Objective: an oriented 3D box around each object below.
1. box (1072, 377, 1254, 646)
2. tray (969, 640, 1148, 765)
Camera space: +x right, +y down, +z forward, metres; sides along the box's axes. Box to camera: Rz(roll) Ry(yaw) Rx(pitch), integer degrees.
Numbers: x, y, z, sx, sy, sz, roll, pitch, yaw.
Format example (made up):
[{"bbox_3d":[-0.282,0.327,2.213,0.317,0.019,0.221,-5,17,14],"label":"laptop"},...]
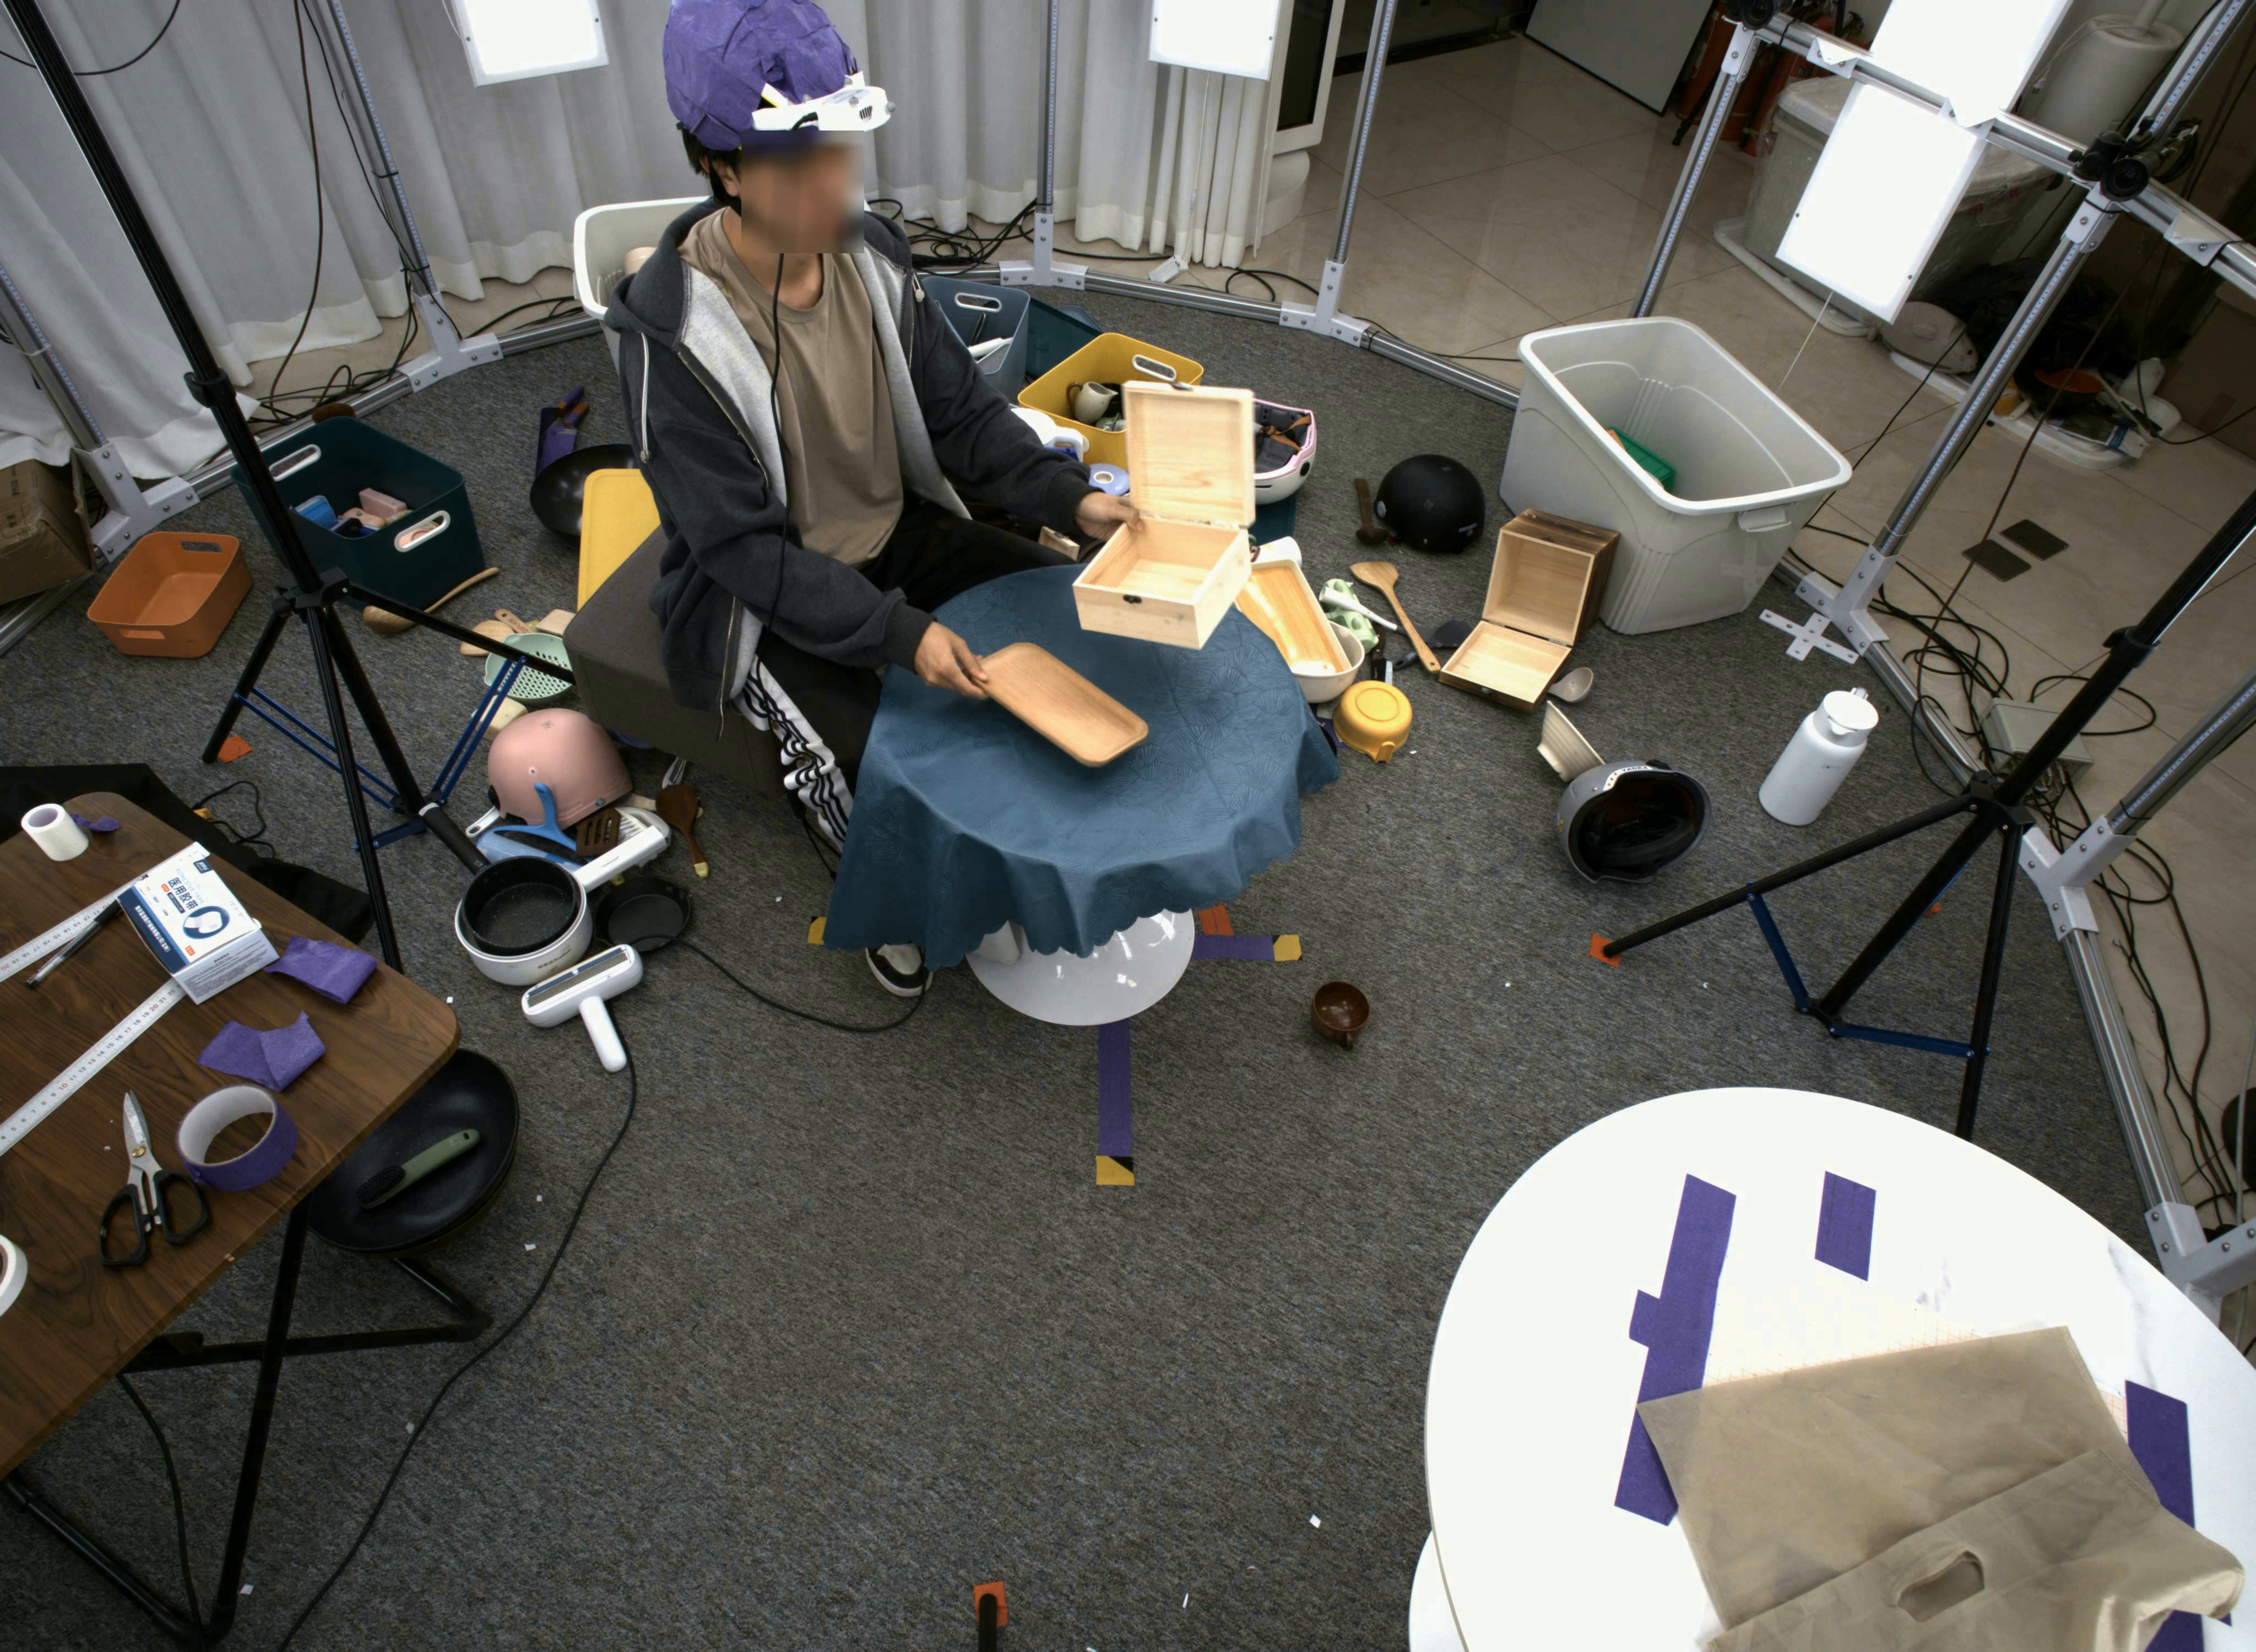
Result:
[{"bbox_3d":[0.047,-0.424,1.725,0.183,0.247,0.270,9,46,28],"label":"box"},{"bbox_3d":[-0.096,-0.170,1.744,0.254,0.022,0.131,37,45,25],"label":"tray"}]
